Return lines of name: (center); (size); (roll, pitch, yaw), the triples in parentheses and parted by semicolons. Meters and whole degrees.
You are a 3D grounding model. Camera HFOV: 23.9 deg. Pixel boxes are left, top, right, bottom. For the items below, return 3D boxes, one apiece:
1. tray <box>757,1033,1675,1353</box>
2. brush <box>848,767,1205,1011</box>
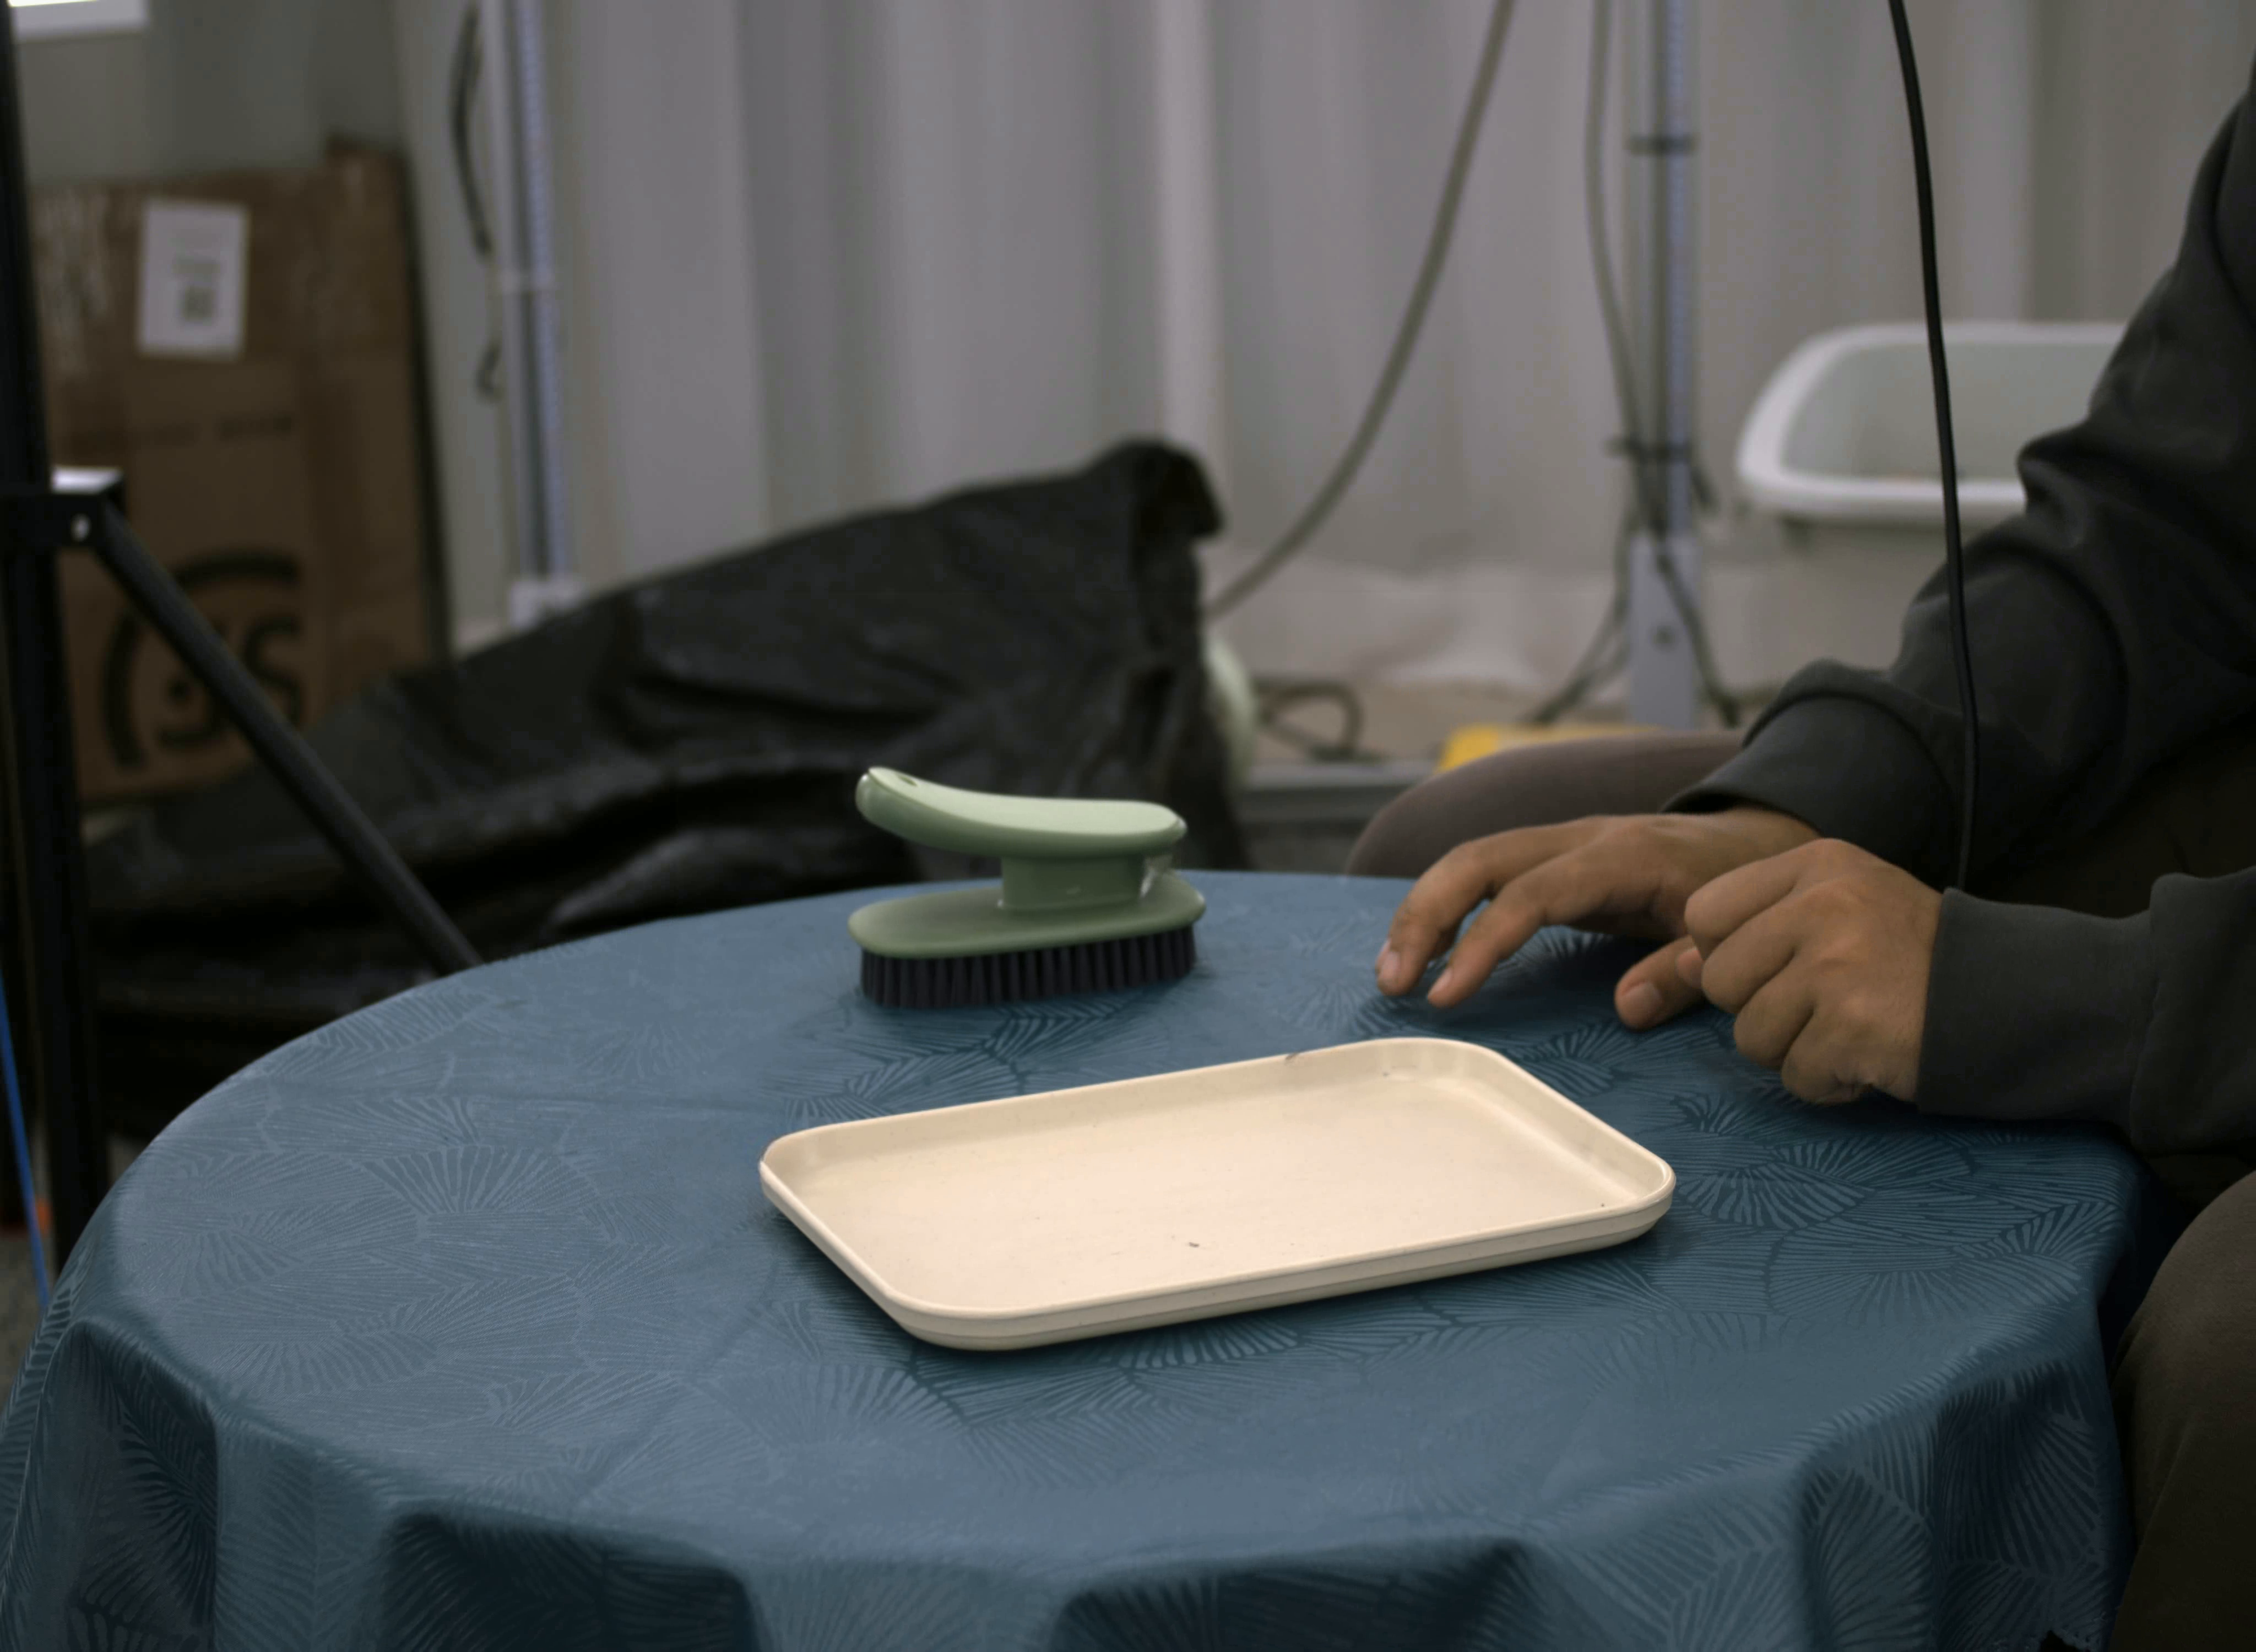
tray: (0.024, 0.105, 1.530); (0.235, 0.017, 0.174); (-8, 17, -19)
brush: (-0.035, 0.025, 1.757); (0.120, 0.076, 0.060); (8, 12, -18)
